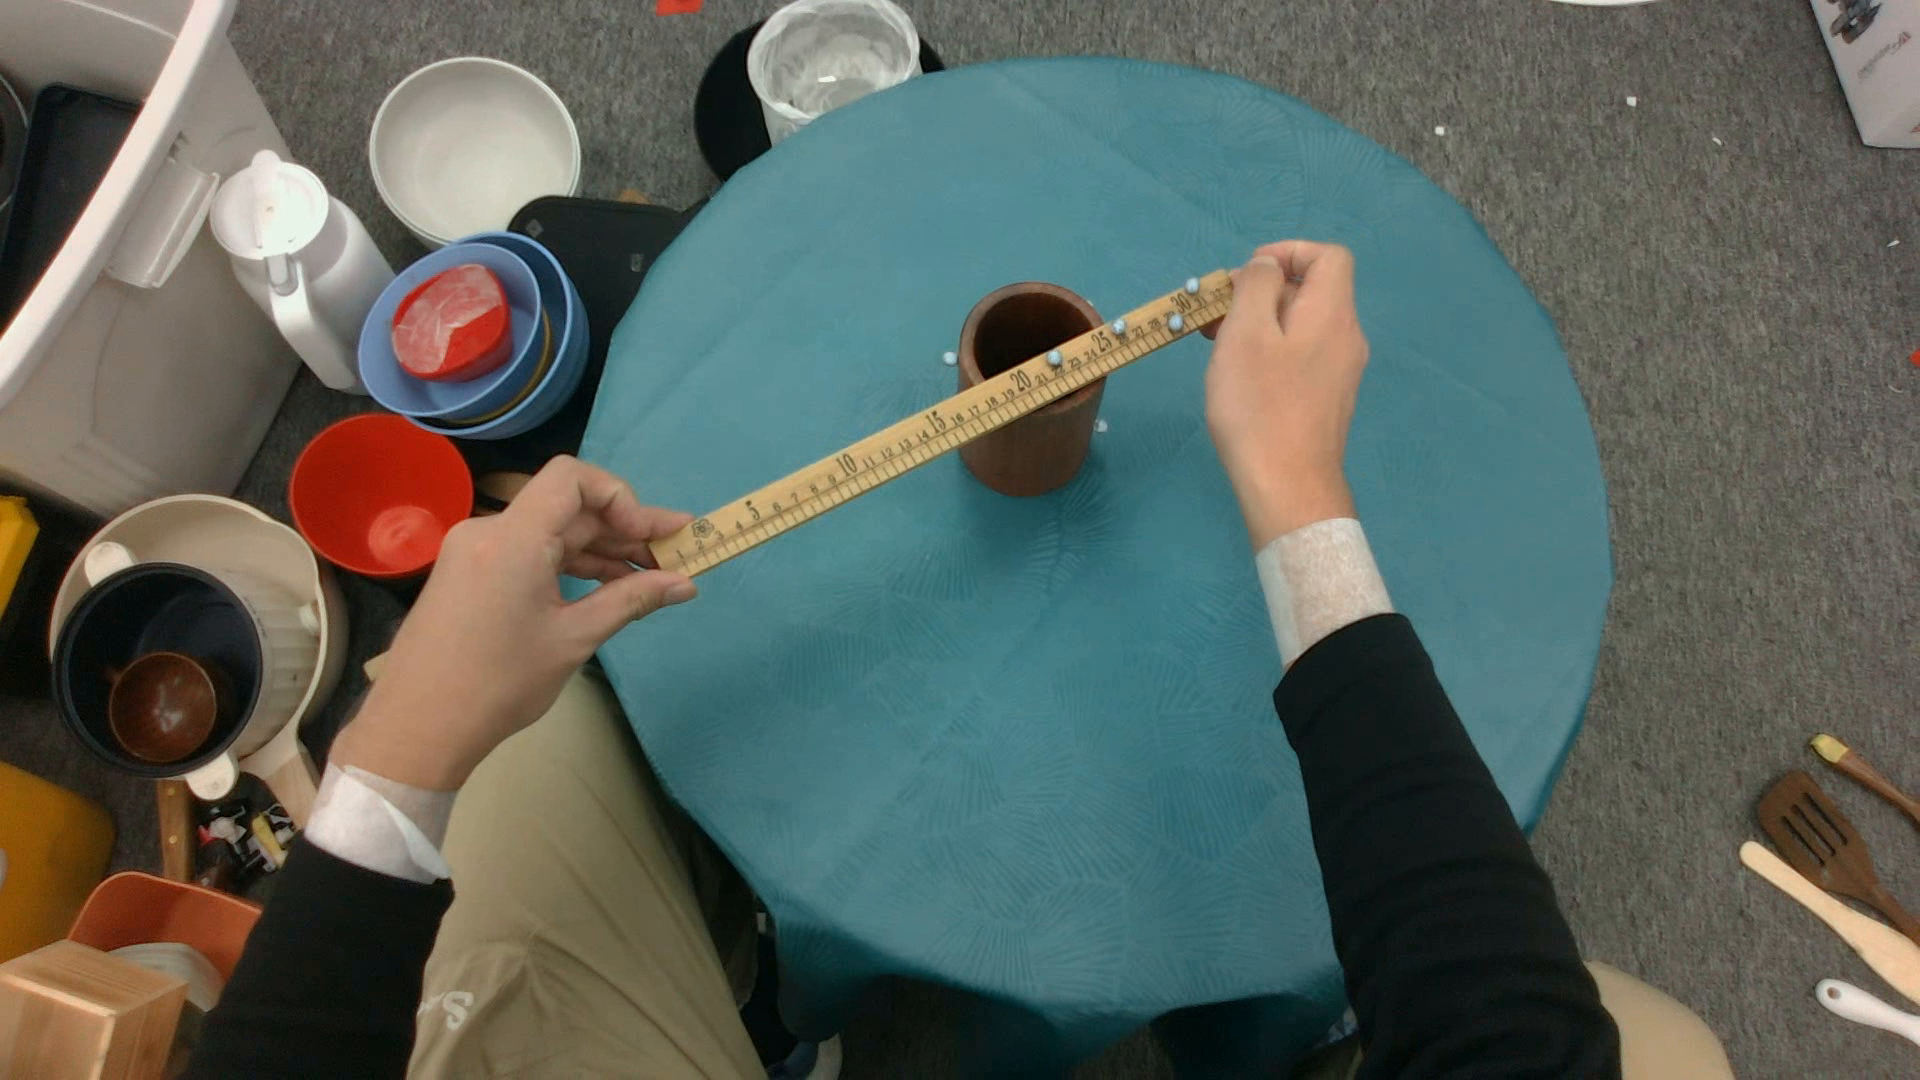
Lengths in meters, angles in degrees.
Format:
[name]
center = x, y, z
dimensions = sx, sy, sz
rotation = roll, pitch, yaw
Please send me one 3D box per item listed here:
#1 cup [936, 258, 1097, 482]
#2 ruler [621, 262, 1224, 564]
[cup]
center = 0.028, -0.091, 0.758
dimensions = 0.088, 0.118, 0.088
rotation = 1, 70, -2
[ruler]
center = -0.008, -0.070, 0.679
dimensions = 0.333, 0.022, 0.027
rotation = -26, 67, -17
